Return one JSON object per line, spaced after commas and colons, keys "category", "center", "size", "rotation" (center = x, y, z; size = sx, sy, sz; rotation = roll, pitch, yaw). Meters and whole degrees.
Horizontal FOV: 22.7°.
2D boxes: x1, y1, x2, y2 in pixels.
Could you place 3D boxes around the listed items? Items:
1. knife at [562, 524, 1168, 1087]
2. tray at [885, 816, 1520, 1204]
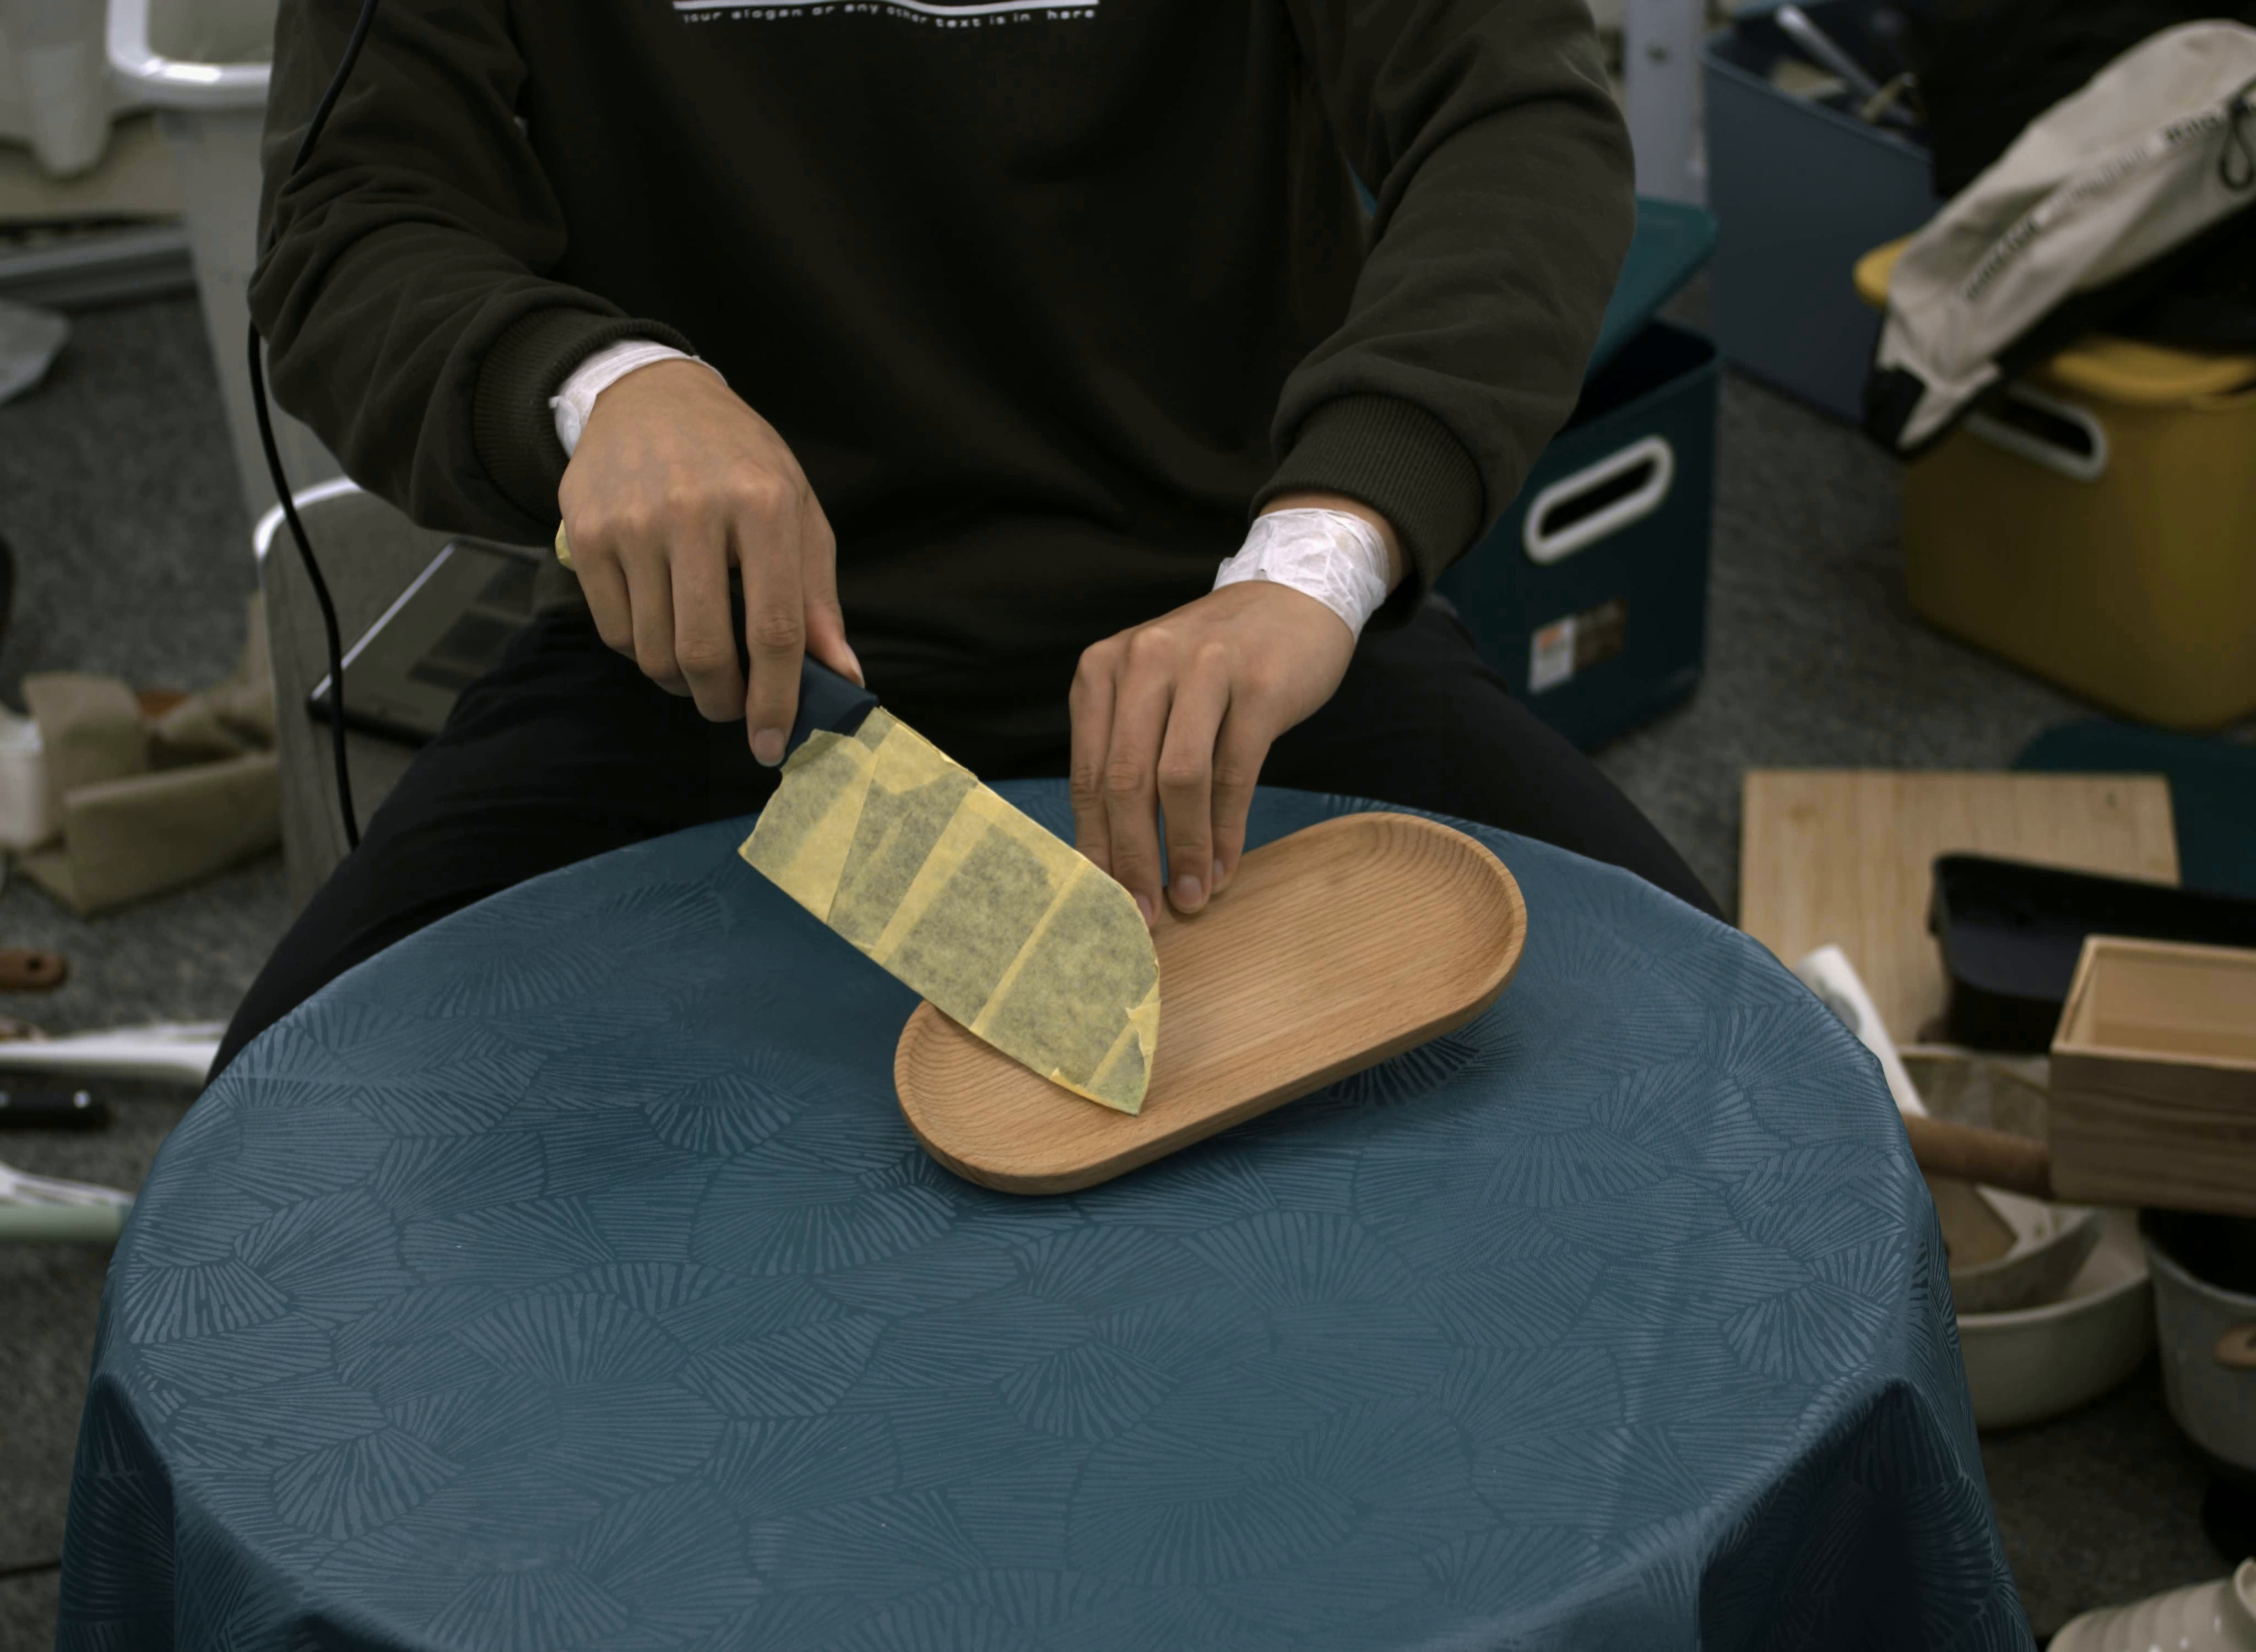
{"category": "knife", "center": [-0.095, -0.008, 1.923], "size": [0.290, 0.081, 0.027], "rotation": [40, 7, 20]}
{"category": "tray", "center": [0.026, 0.062, 1.910], "size": [0.232, 0.020, 0.103], "rotation": [-23, 48, -17]}
